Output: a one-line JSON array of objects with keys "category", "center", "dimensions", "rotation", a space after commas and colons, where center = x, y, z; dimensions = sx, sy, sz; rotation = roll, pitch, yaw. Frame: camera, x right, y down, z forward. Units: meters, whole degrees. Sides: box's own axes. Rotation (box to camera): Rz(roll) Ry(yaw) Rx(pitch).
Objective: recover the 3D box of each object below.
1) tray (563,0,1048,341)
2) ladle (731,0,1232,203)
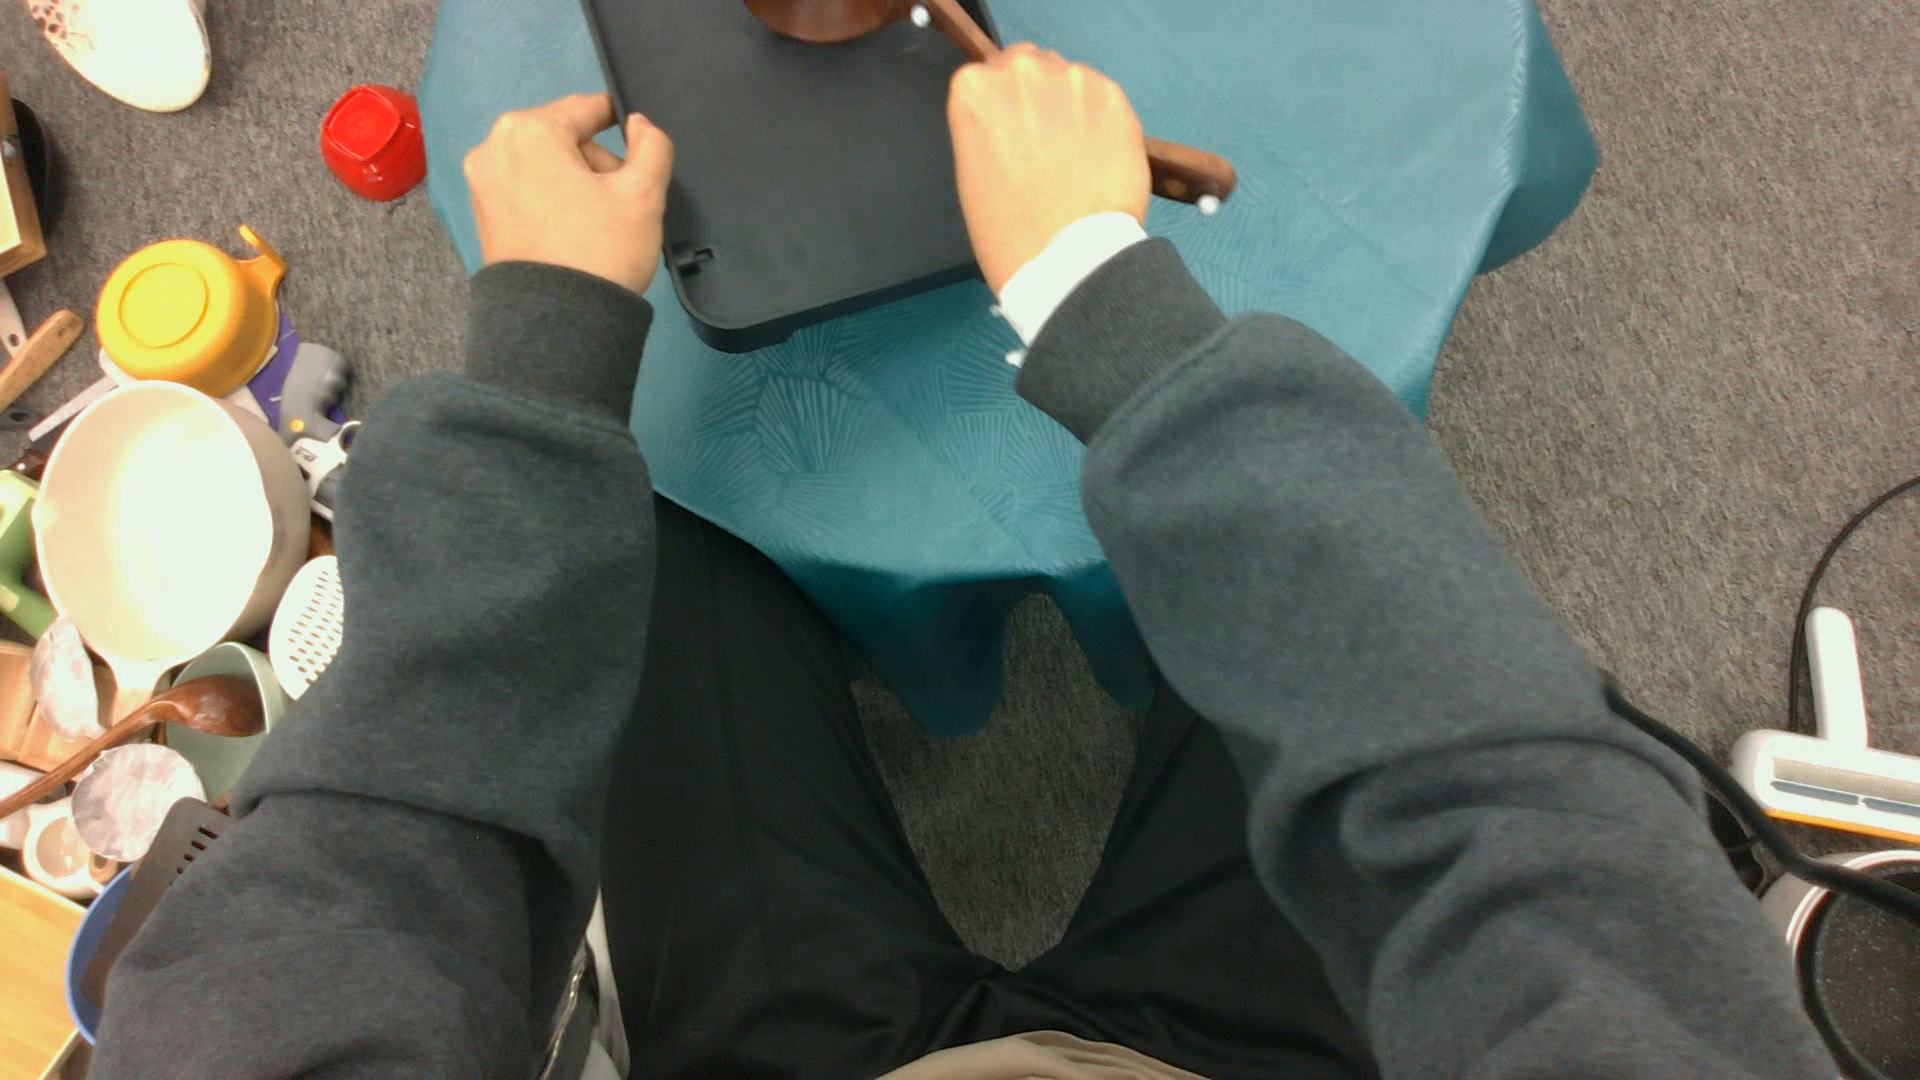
[{"category": "tray", "center": [-0.095, -0.258, 0.667], "dimensions": [0.184, 0.037, 0.318], "rotation": [-19, 76, -12]}, {"category": "ladle", "center": [0.001, -0.206, 0.615], "dimensions": [0.260, 0.076, 0.065], "rotation": [39, 79, 20]}]
